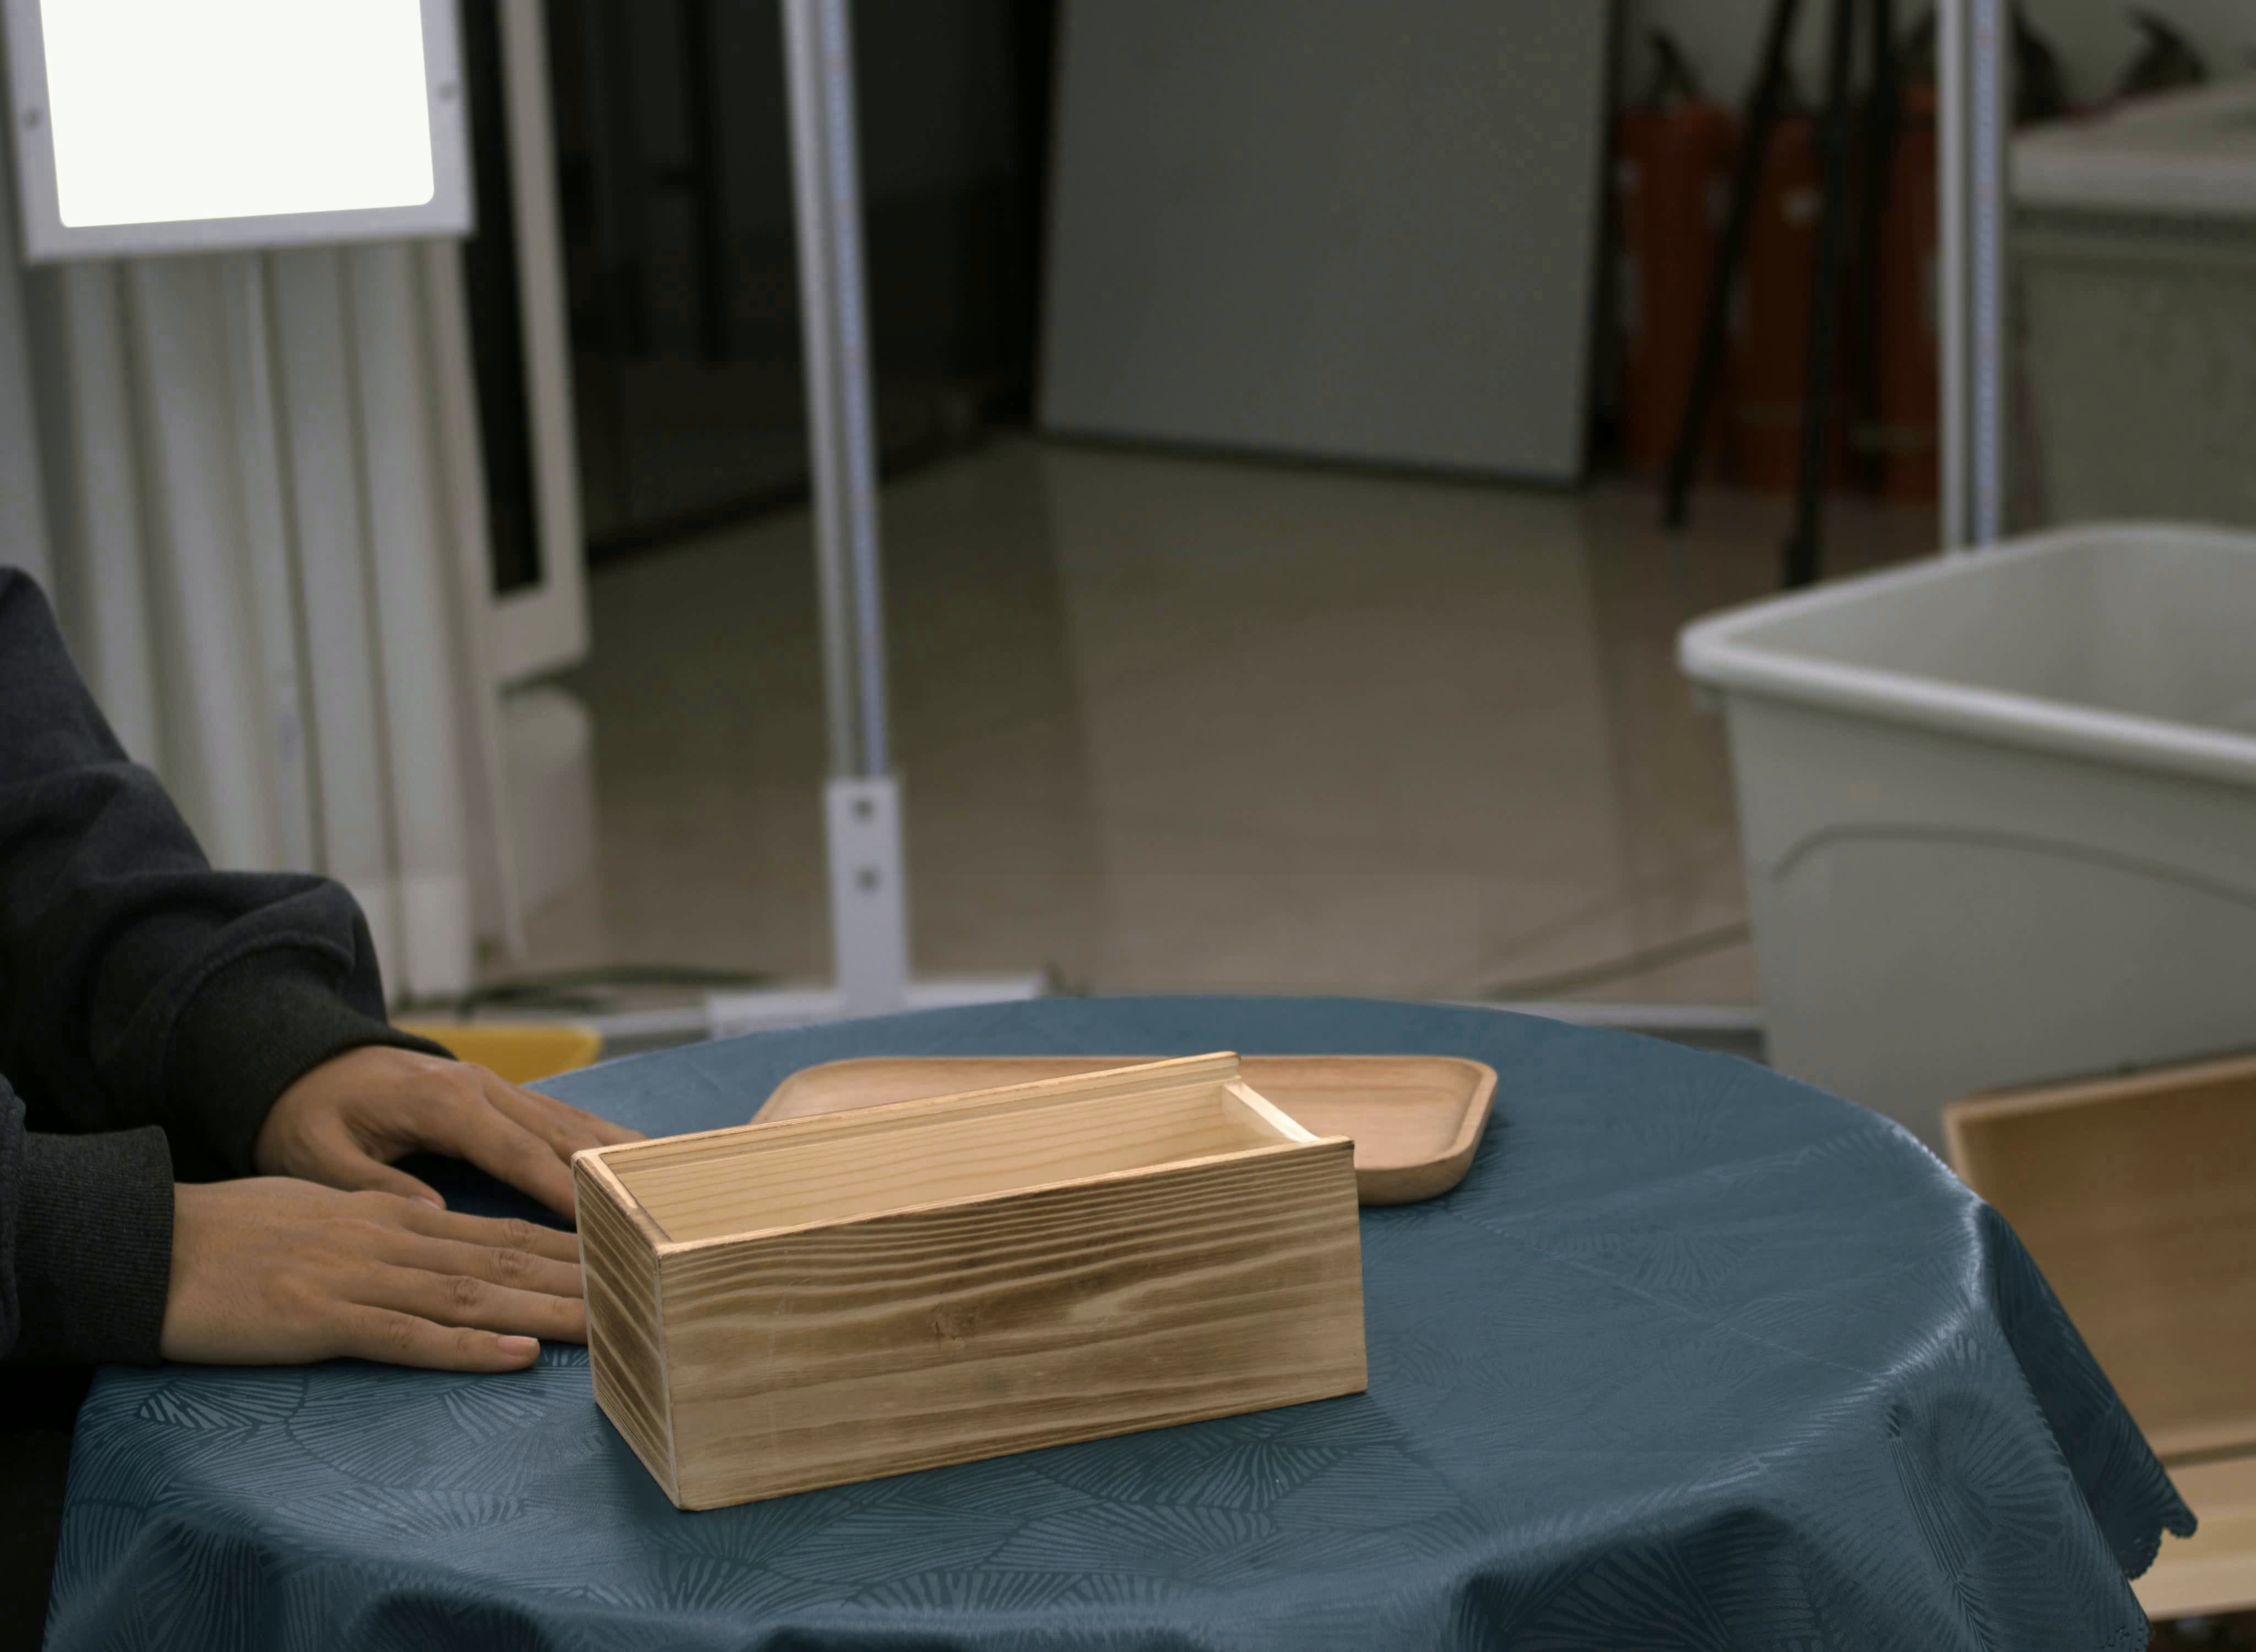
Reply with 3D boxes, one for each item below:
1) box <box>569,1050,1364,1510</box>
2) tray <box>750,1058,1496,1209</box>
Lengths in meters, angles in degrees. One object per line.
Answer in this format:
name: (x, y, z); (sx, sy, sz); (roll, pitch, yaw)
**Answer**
box: (-0.048, 0.130, 1.578); (0.207, 0.081, 0.108); (-8, 14, -16)
tray: (-0.003, 0.103, 1.808); (0.249, 0.023, 0.130); (-1, 11, 13)
